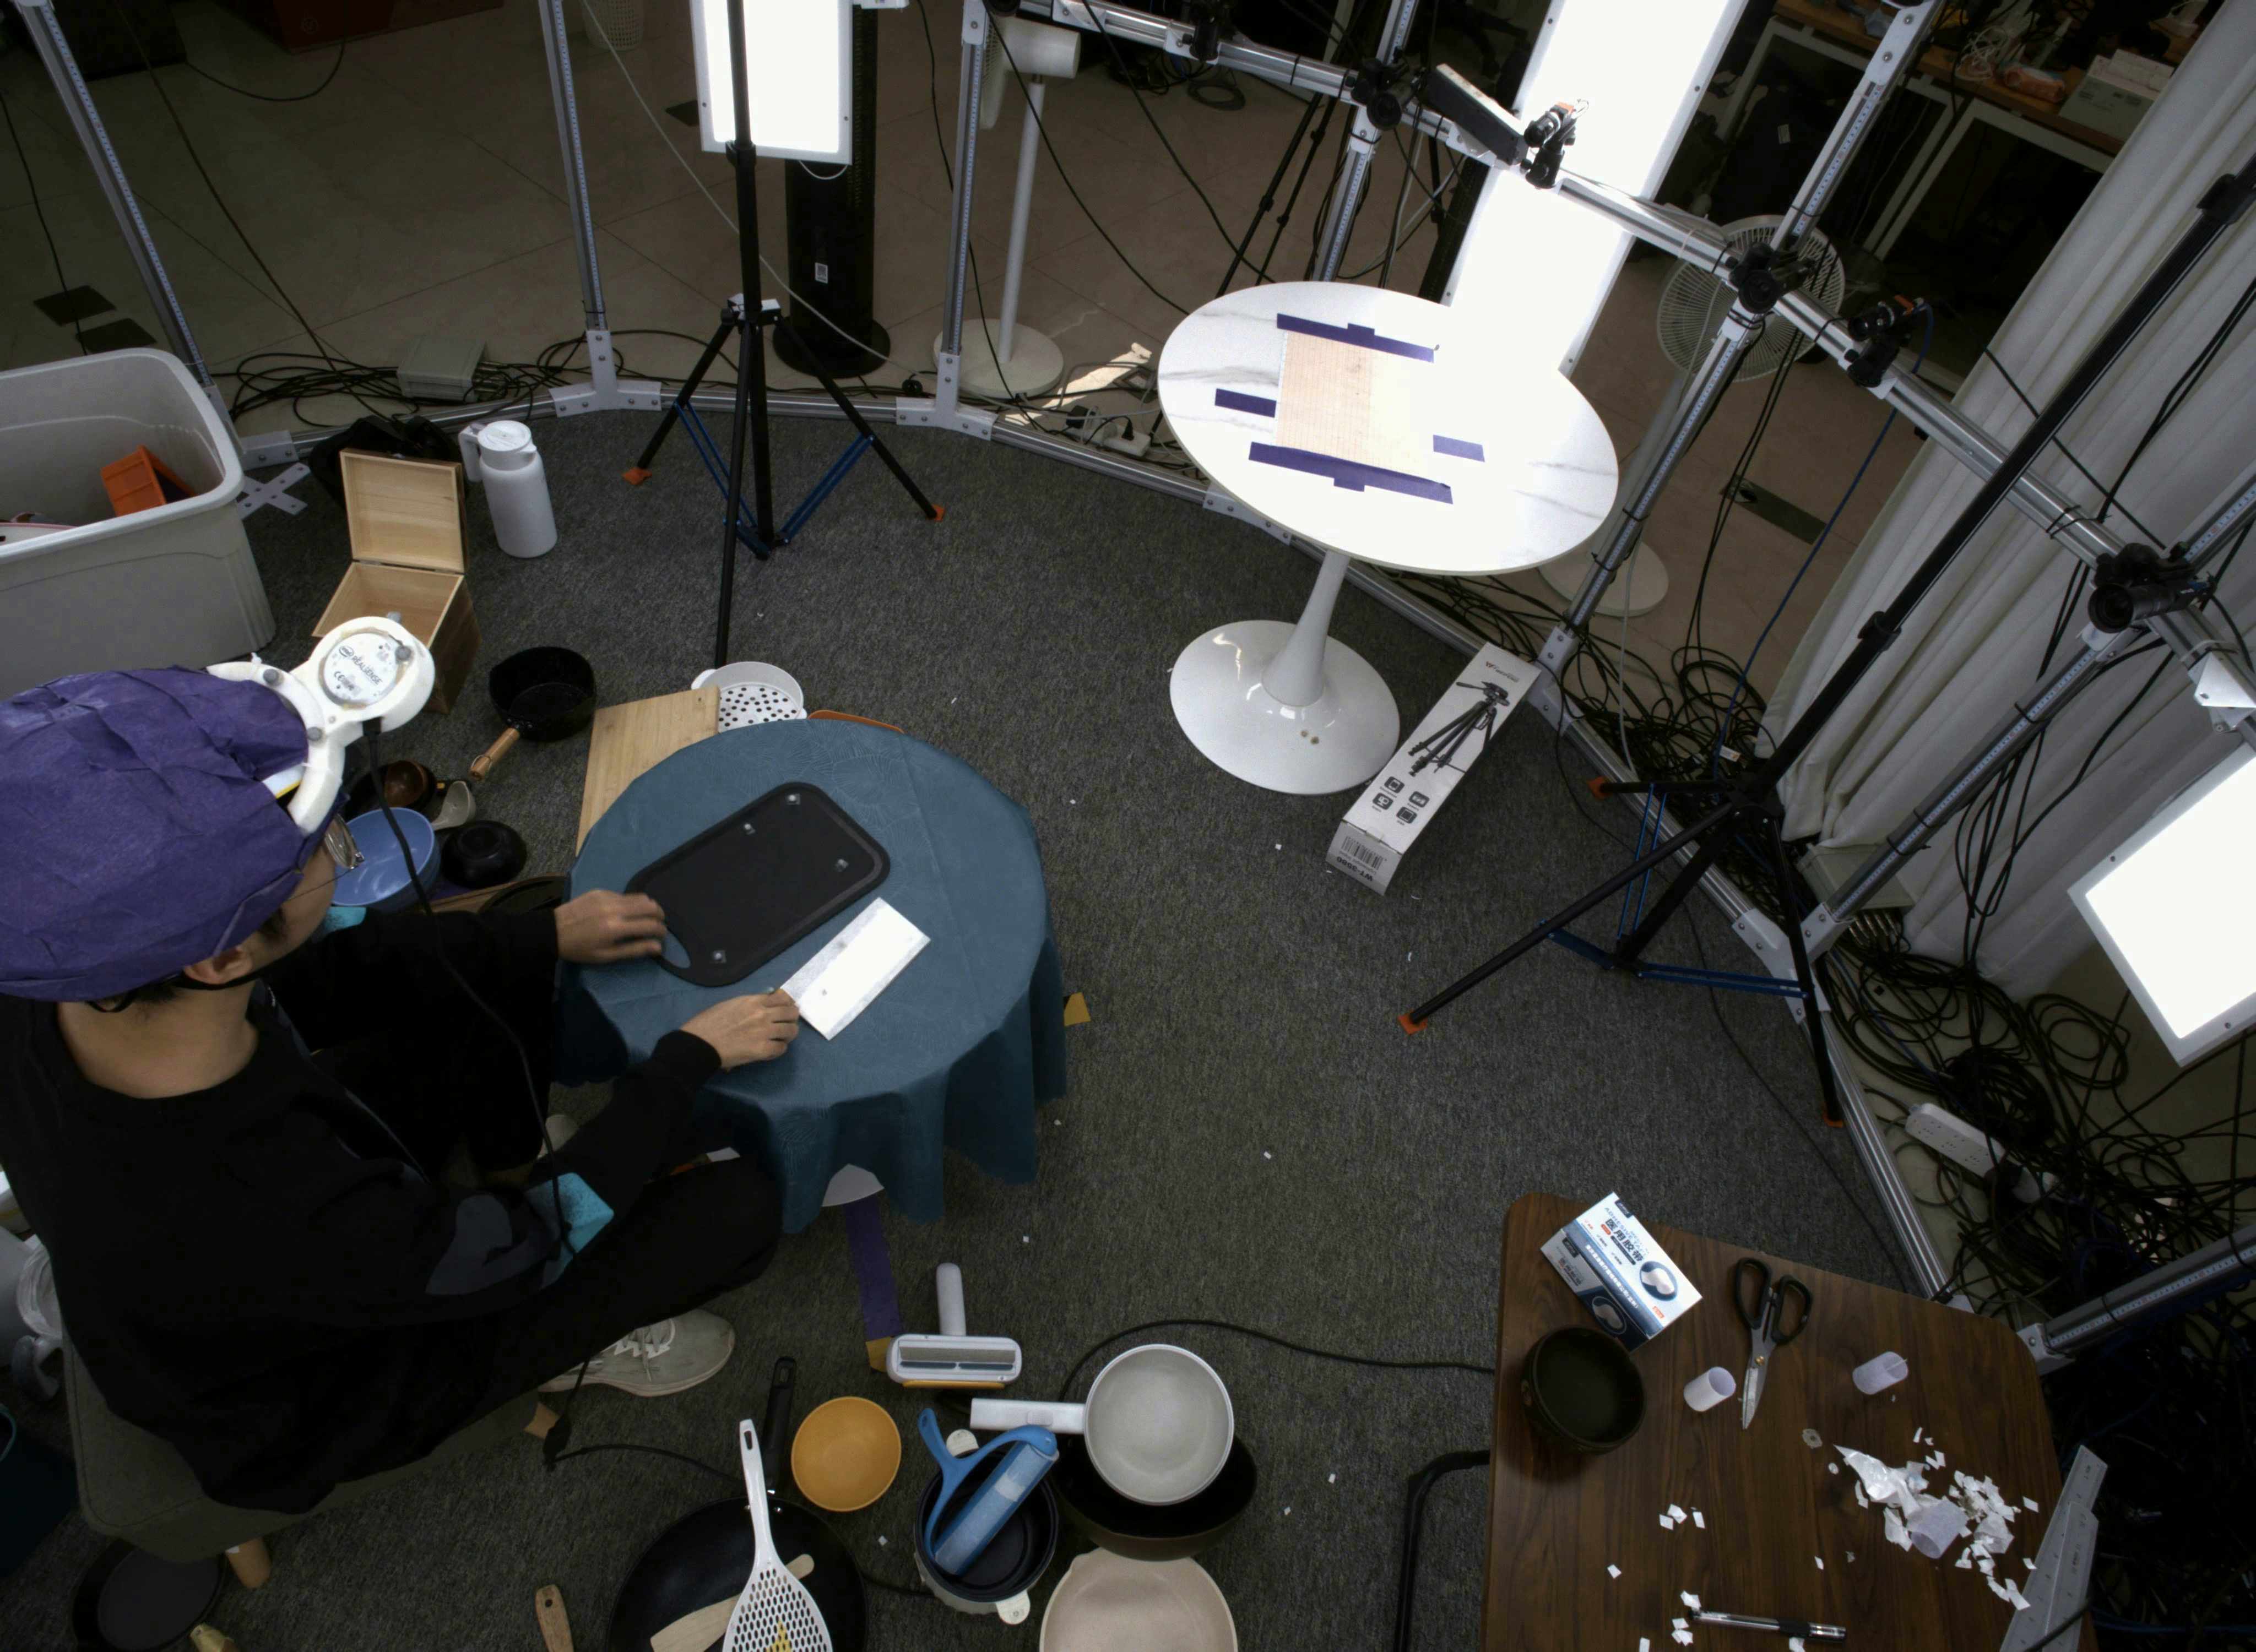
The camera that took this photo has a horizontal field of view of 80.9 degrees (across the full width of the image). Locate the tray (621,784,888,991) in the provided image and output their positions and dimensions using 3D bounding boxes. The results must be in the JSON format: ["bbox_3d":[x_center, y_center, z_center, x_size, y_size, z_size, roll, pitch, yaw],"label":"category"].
[{"bbox_3d":[-0.477,0.072,1.640,0.206,0.010,0.326,41,54,16],"label":"tray"}]

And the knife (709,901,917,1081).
[{"bbox_3d":[-0.369,0.204,1.564,0.092,0.021,0.305,38,52,7],"label":"knife"}]
